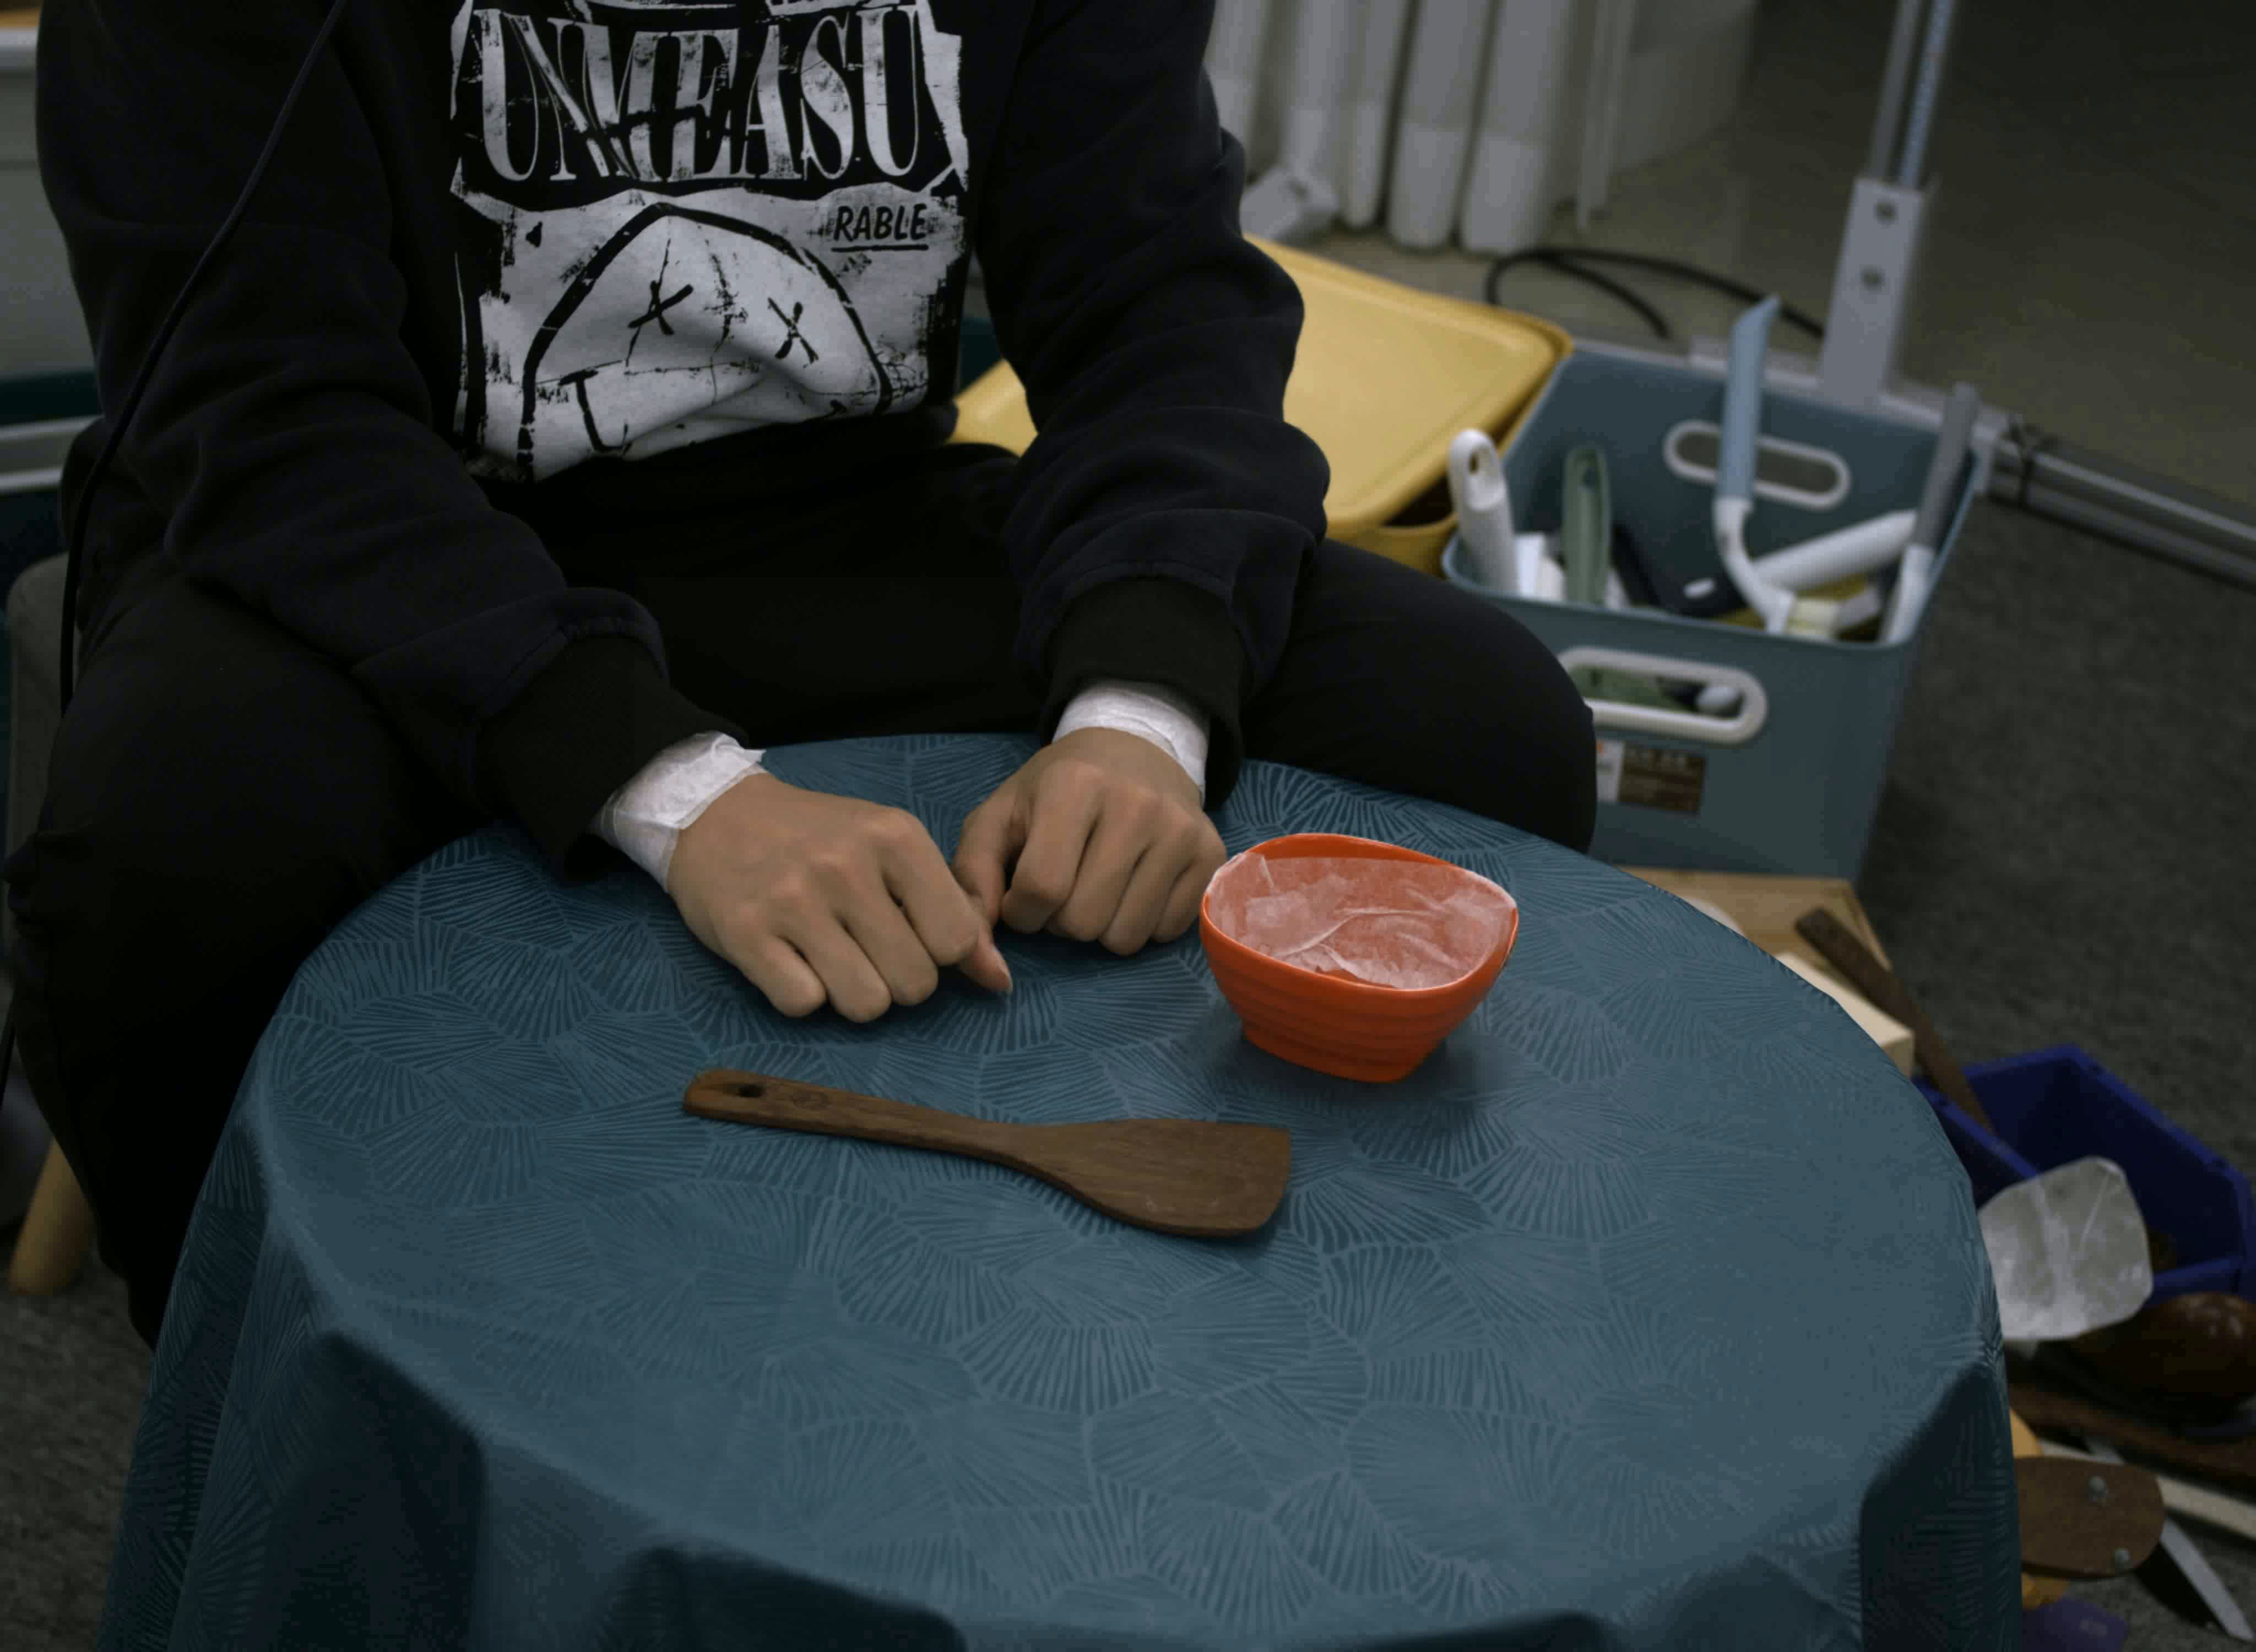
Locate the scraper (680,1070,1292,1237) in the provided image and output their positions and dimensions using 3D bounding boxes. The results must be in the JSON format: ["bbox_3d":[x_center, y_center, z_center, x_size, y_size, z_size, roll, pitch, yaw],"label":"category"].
[{"bbox_3d":[-0.049,0.107,1.813,0.211,0.011,0.076,9,25,7],"label":"scraper"}]

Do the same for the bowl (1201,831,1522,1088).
[{"bbox_3d":[0.081,0.052,1.905,0.118,0.051,0.119,5,29,-3],"label":"bowl"}]
